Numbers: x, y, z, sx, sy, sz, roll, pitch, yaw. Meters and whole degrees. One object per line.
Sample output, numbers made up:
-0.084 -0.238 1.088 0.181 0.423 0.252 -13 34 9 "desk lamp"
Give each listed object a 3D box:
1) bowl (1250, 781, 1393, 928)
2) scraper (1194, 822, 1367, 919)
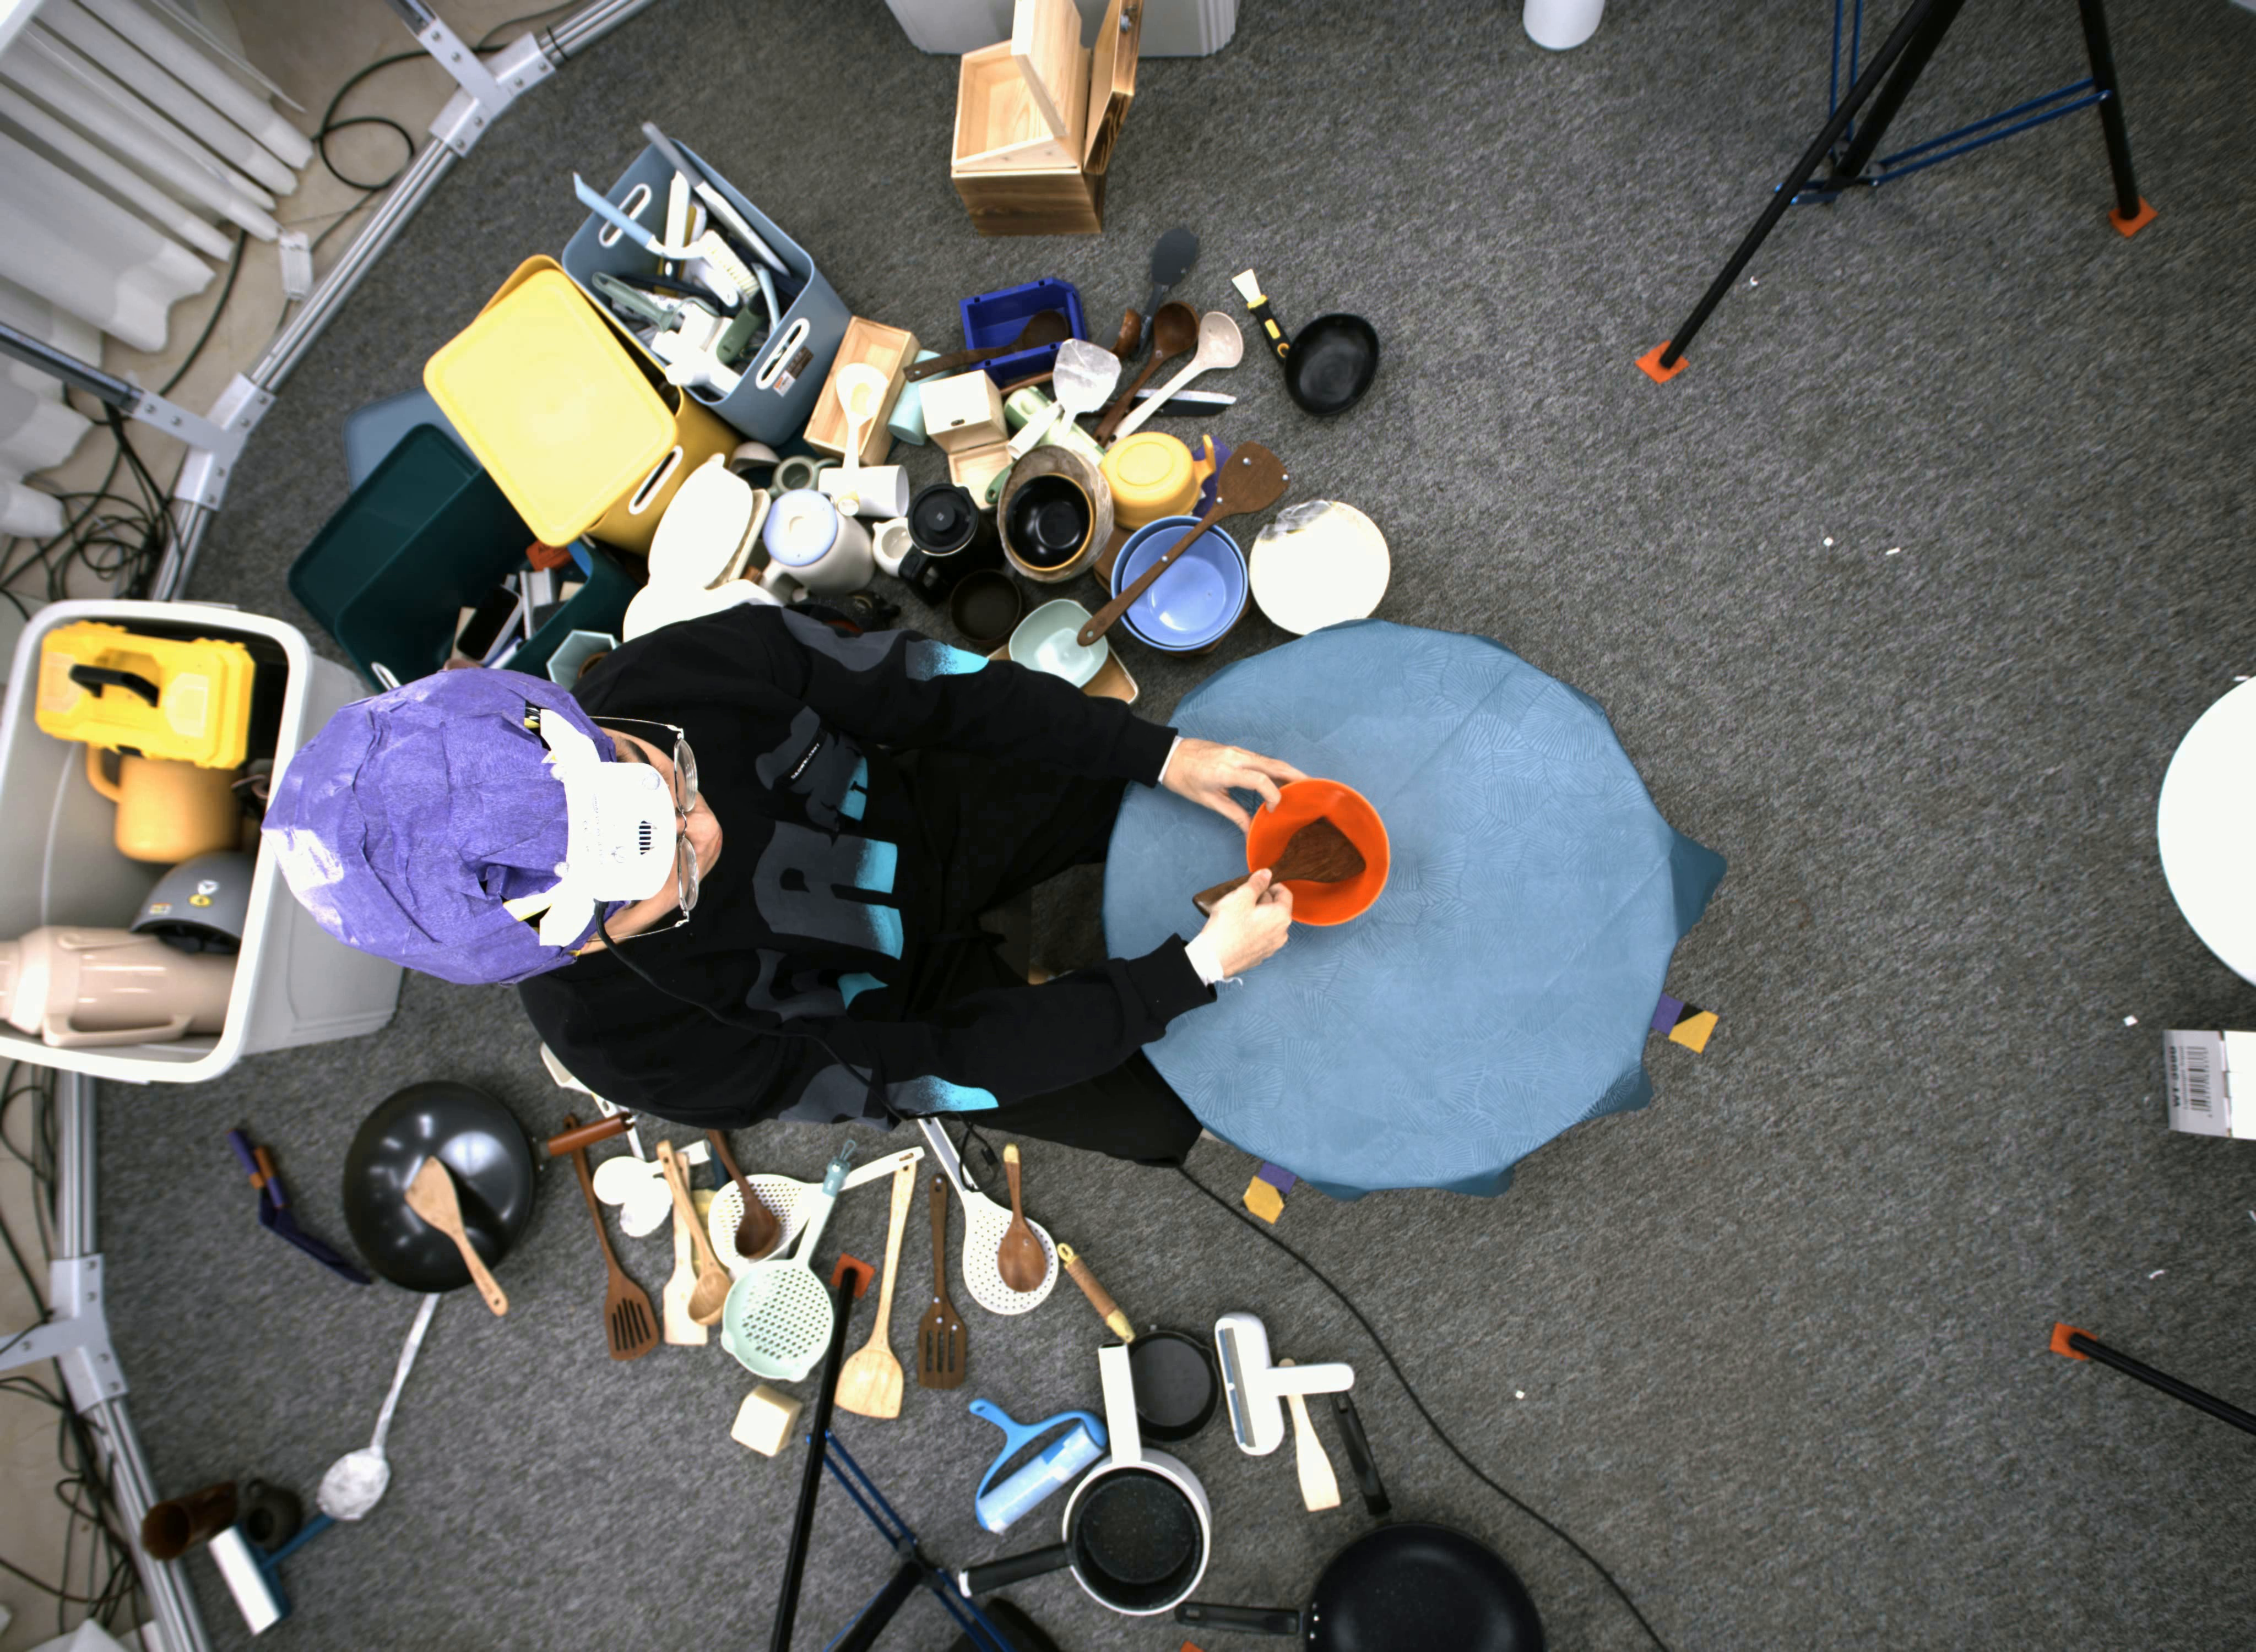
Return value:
0.204 0.027 1.413 0.149 0.104 0.148 1 94 19 "bowl"
0.149 0.051 1.382 0.208 0.011 0.075 -20 64 -34 "scraper"
